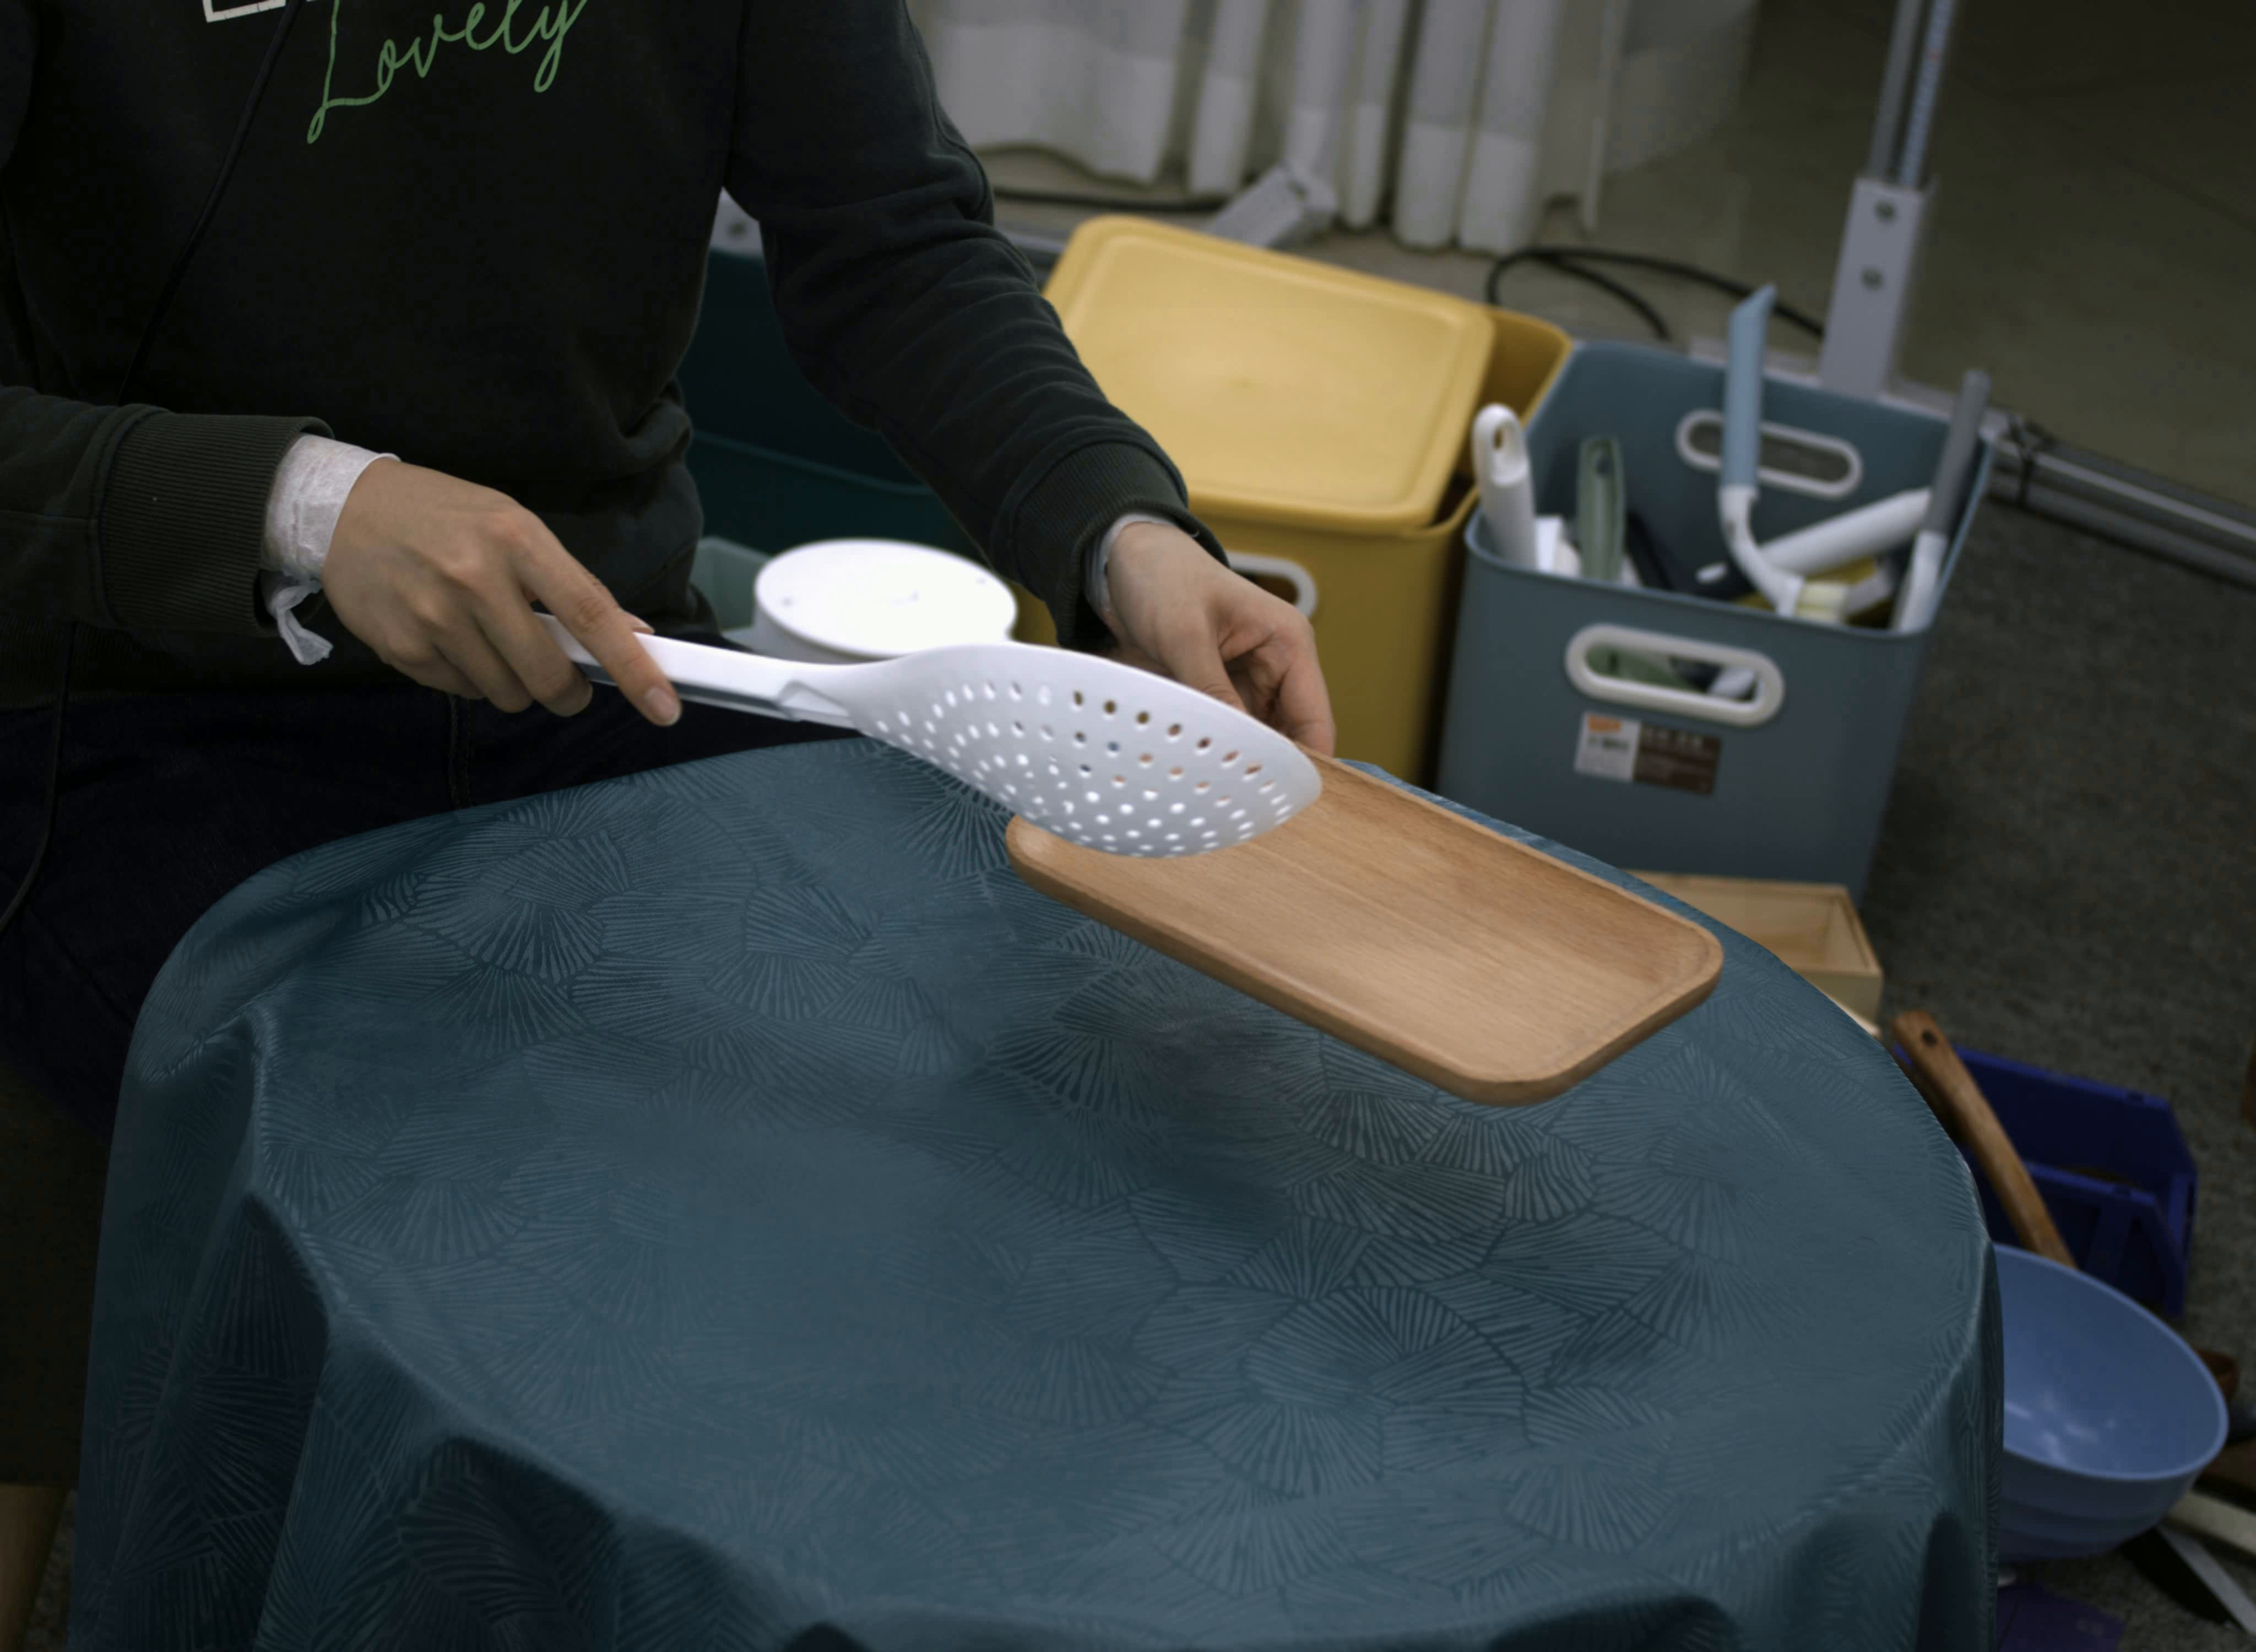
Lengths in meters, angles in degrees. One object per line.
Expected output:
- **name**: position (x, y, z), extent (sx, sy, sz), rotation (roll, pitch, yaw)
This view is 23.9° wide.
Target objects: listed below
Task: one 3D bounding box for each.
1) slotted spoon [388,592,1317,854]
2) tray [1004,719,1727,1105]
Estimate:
- **slotted spoon**: position (-0.100, -0.044, 1.779), extent (0.351, 0.046, 0.135), rotation (15, -17, 28)
- **tray**: position (0.079, 0.027, 1.829), extent (0.252, 0.023, 0.130), rotation (24, 37, 38)
